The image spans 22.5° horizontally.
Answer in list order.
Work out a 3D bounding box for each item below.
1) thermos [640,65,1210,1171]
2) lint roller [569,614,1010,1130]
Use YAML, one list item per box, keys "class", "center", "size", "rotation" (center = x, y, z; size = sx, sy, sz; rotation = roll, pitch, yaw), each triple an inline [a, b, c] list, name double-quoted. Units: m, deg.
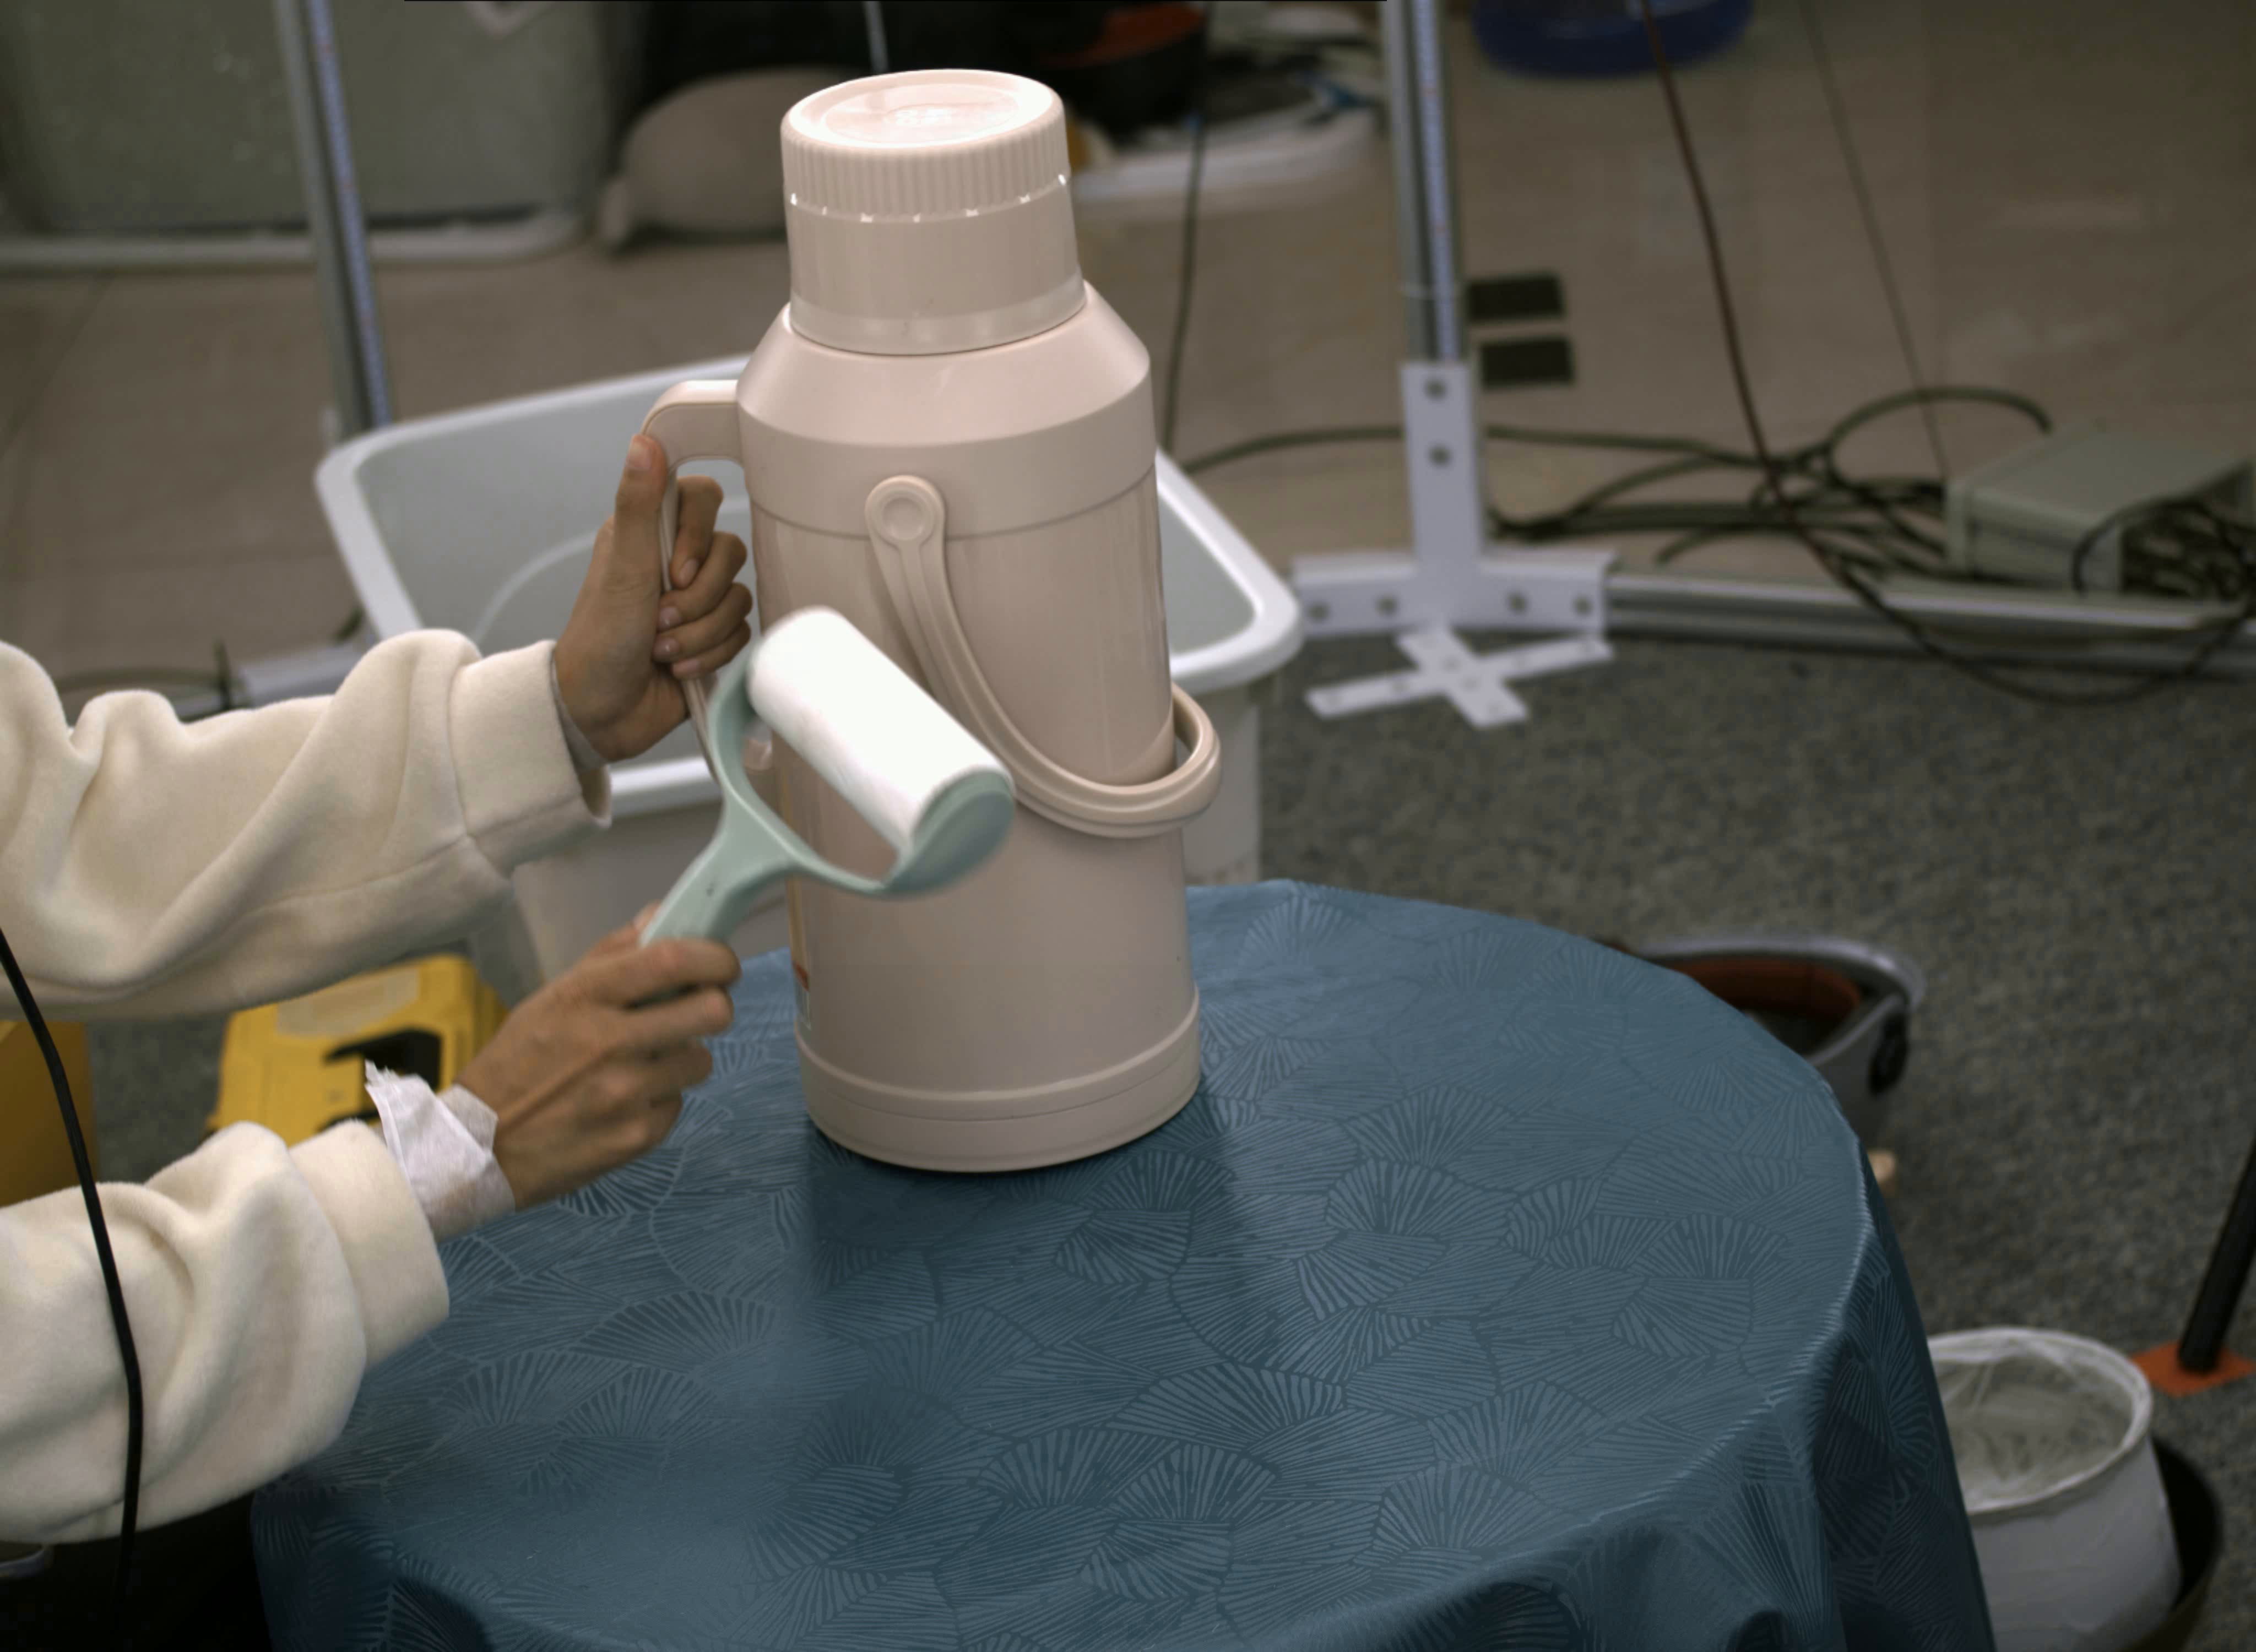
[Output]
- class: "thermos"
  center: [-0.076, -0.080, 2.153]
  size: [0.206, 0.413, 0.173]
  rotation: [0, 26, 10]
- class: "lint roller"
  center: [-0.139, 0.025, 2.014]
  size: [0.198, 0.049, 0.115]
  rotation: [-48, 59, 4]
